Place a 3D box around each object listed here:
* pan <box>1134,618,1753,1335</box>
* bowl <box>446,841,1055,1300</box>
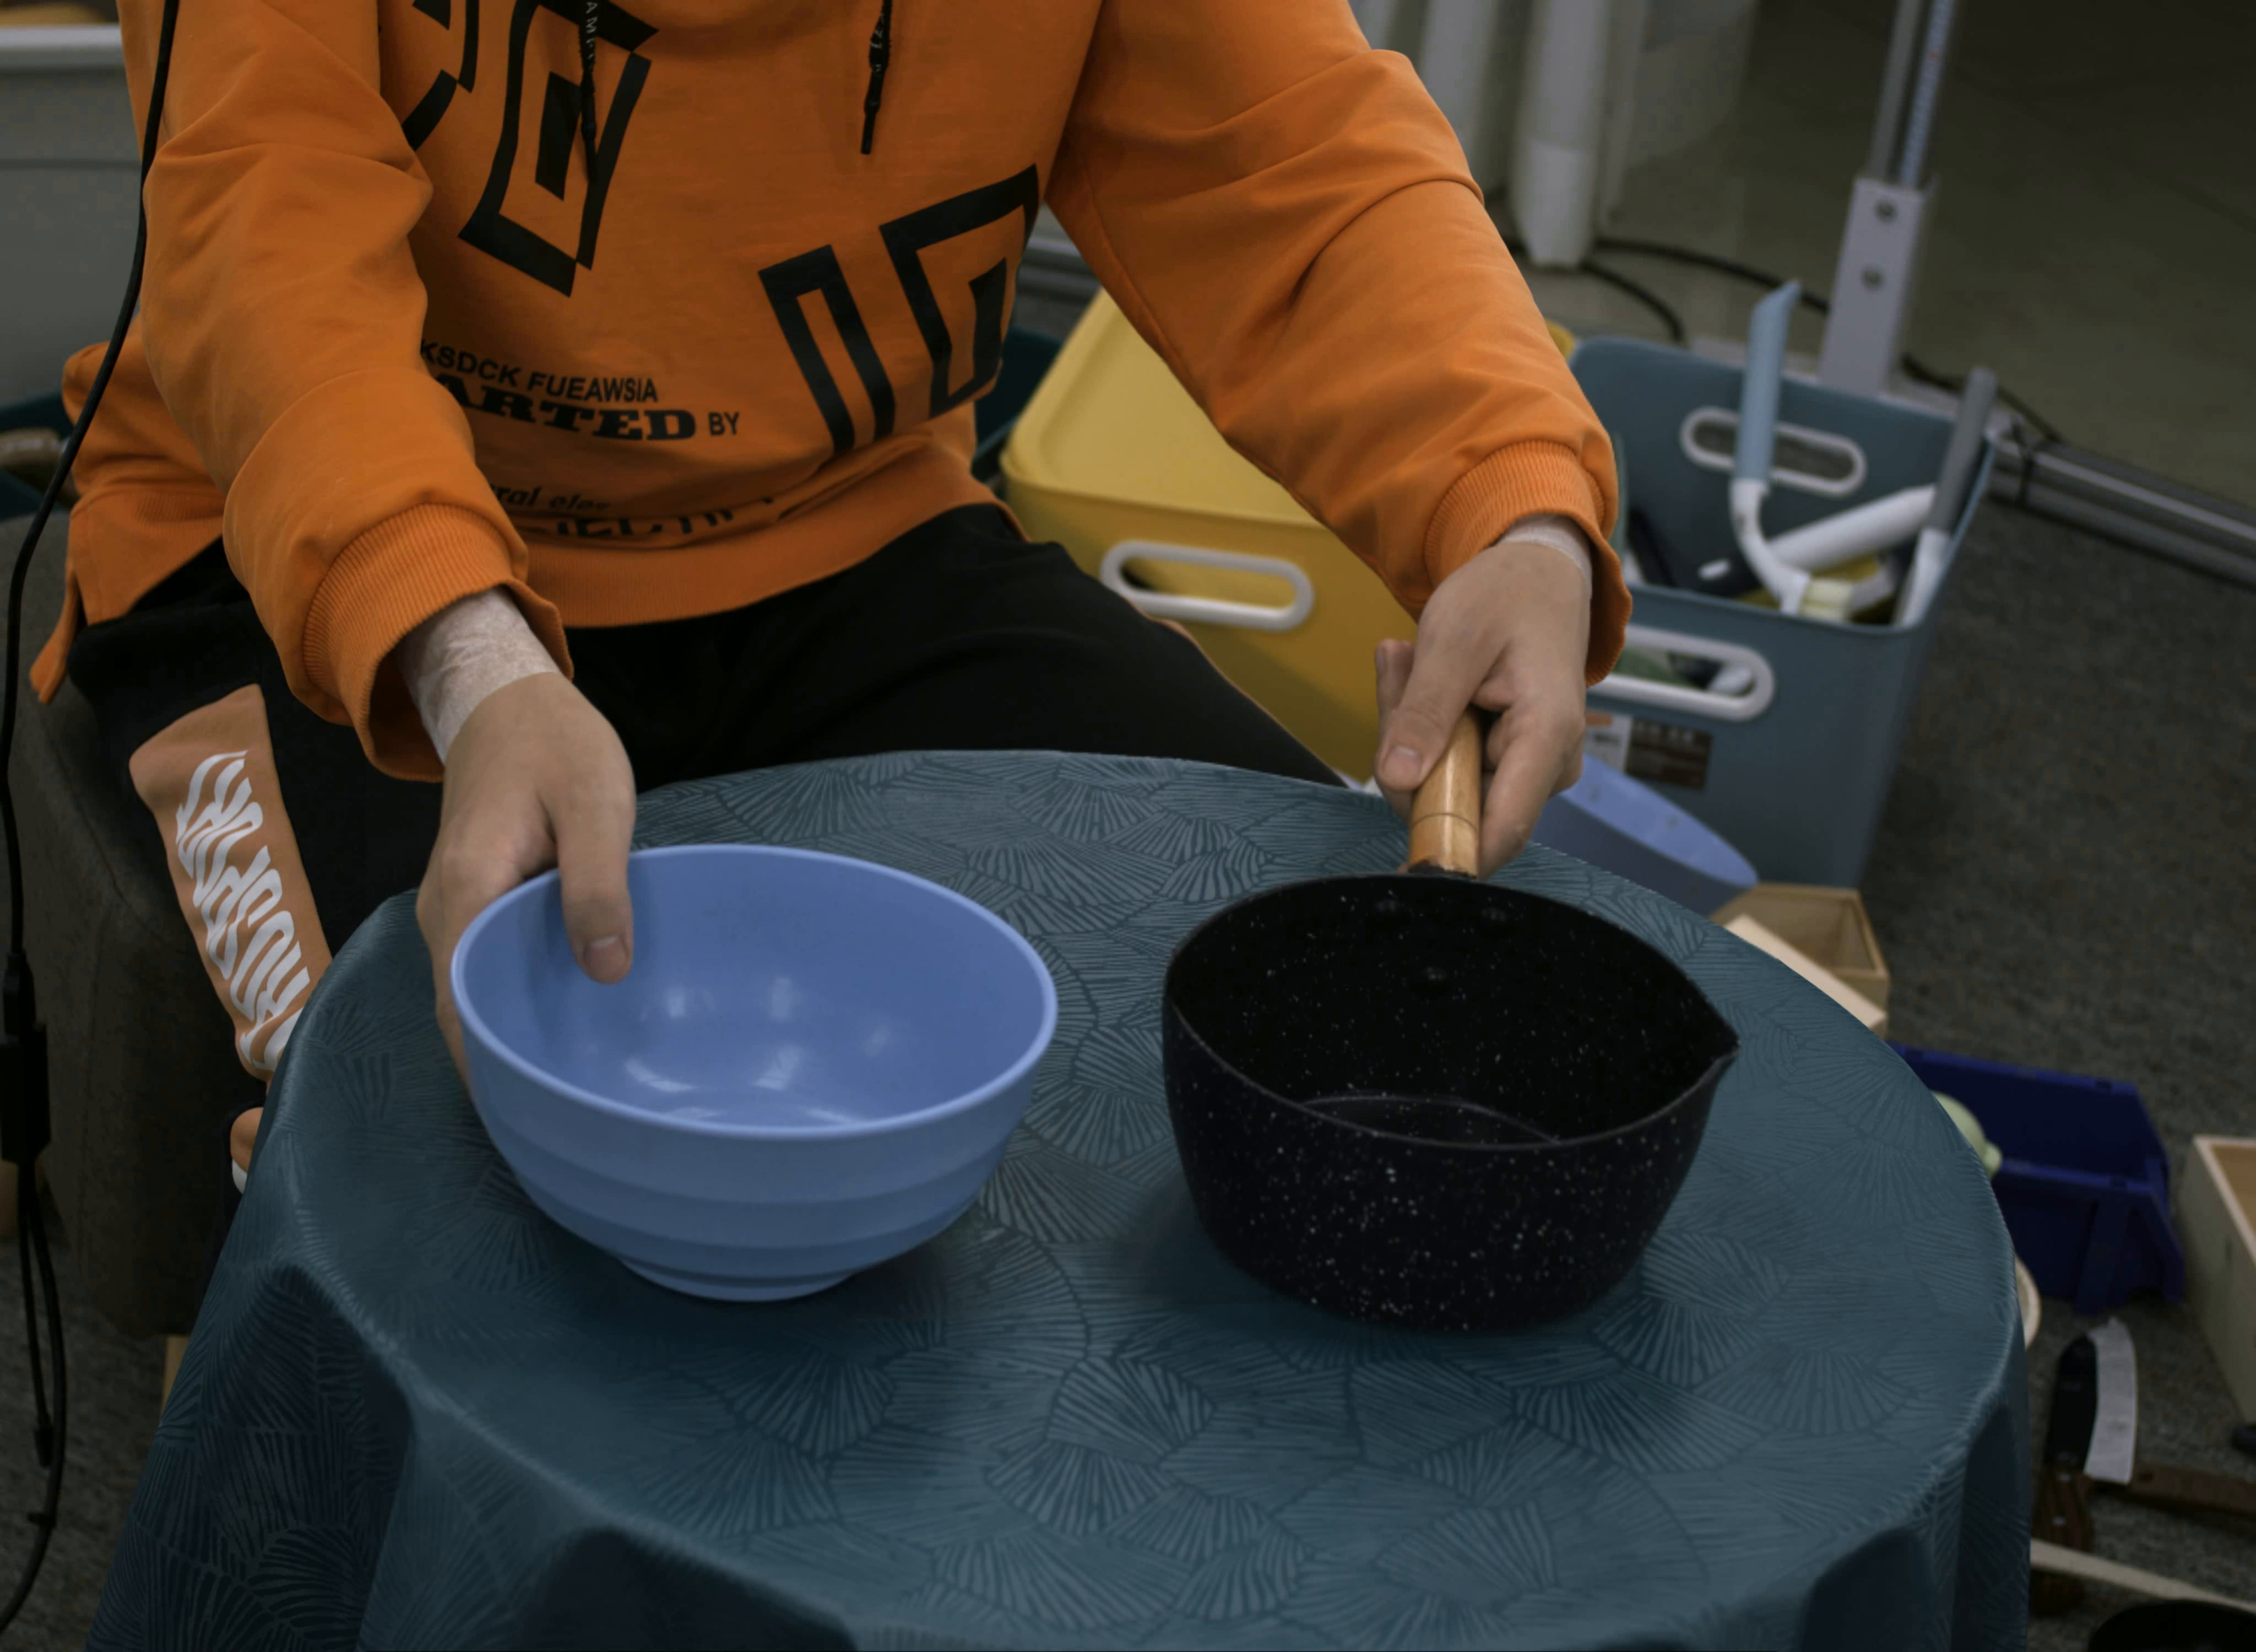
[{"bbox_3d":[0.105,0.048,1.851,0.207,0.108,0.345,5,28,0],"label":"pan"},{"bbox_3d":[-0.125,0.090,1.732,0.196,0.095,0.197,4,27,-2],"label":"bowl"}]
